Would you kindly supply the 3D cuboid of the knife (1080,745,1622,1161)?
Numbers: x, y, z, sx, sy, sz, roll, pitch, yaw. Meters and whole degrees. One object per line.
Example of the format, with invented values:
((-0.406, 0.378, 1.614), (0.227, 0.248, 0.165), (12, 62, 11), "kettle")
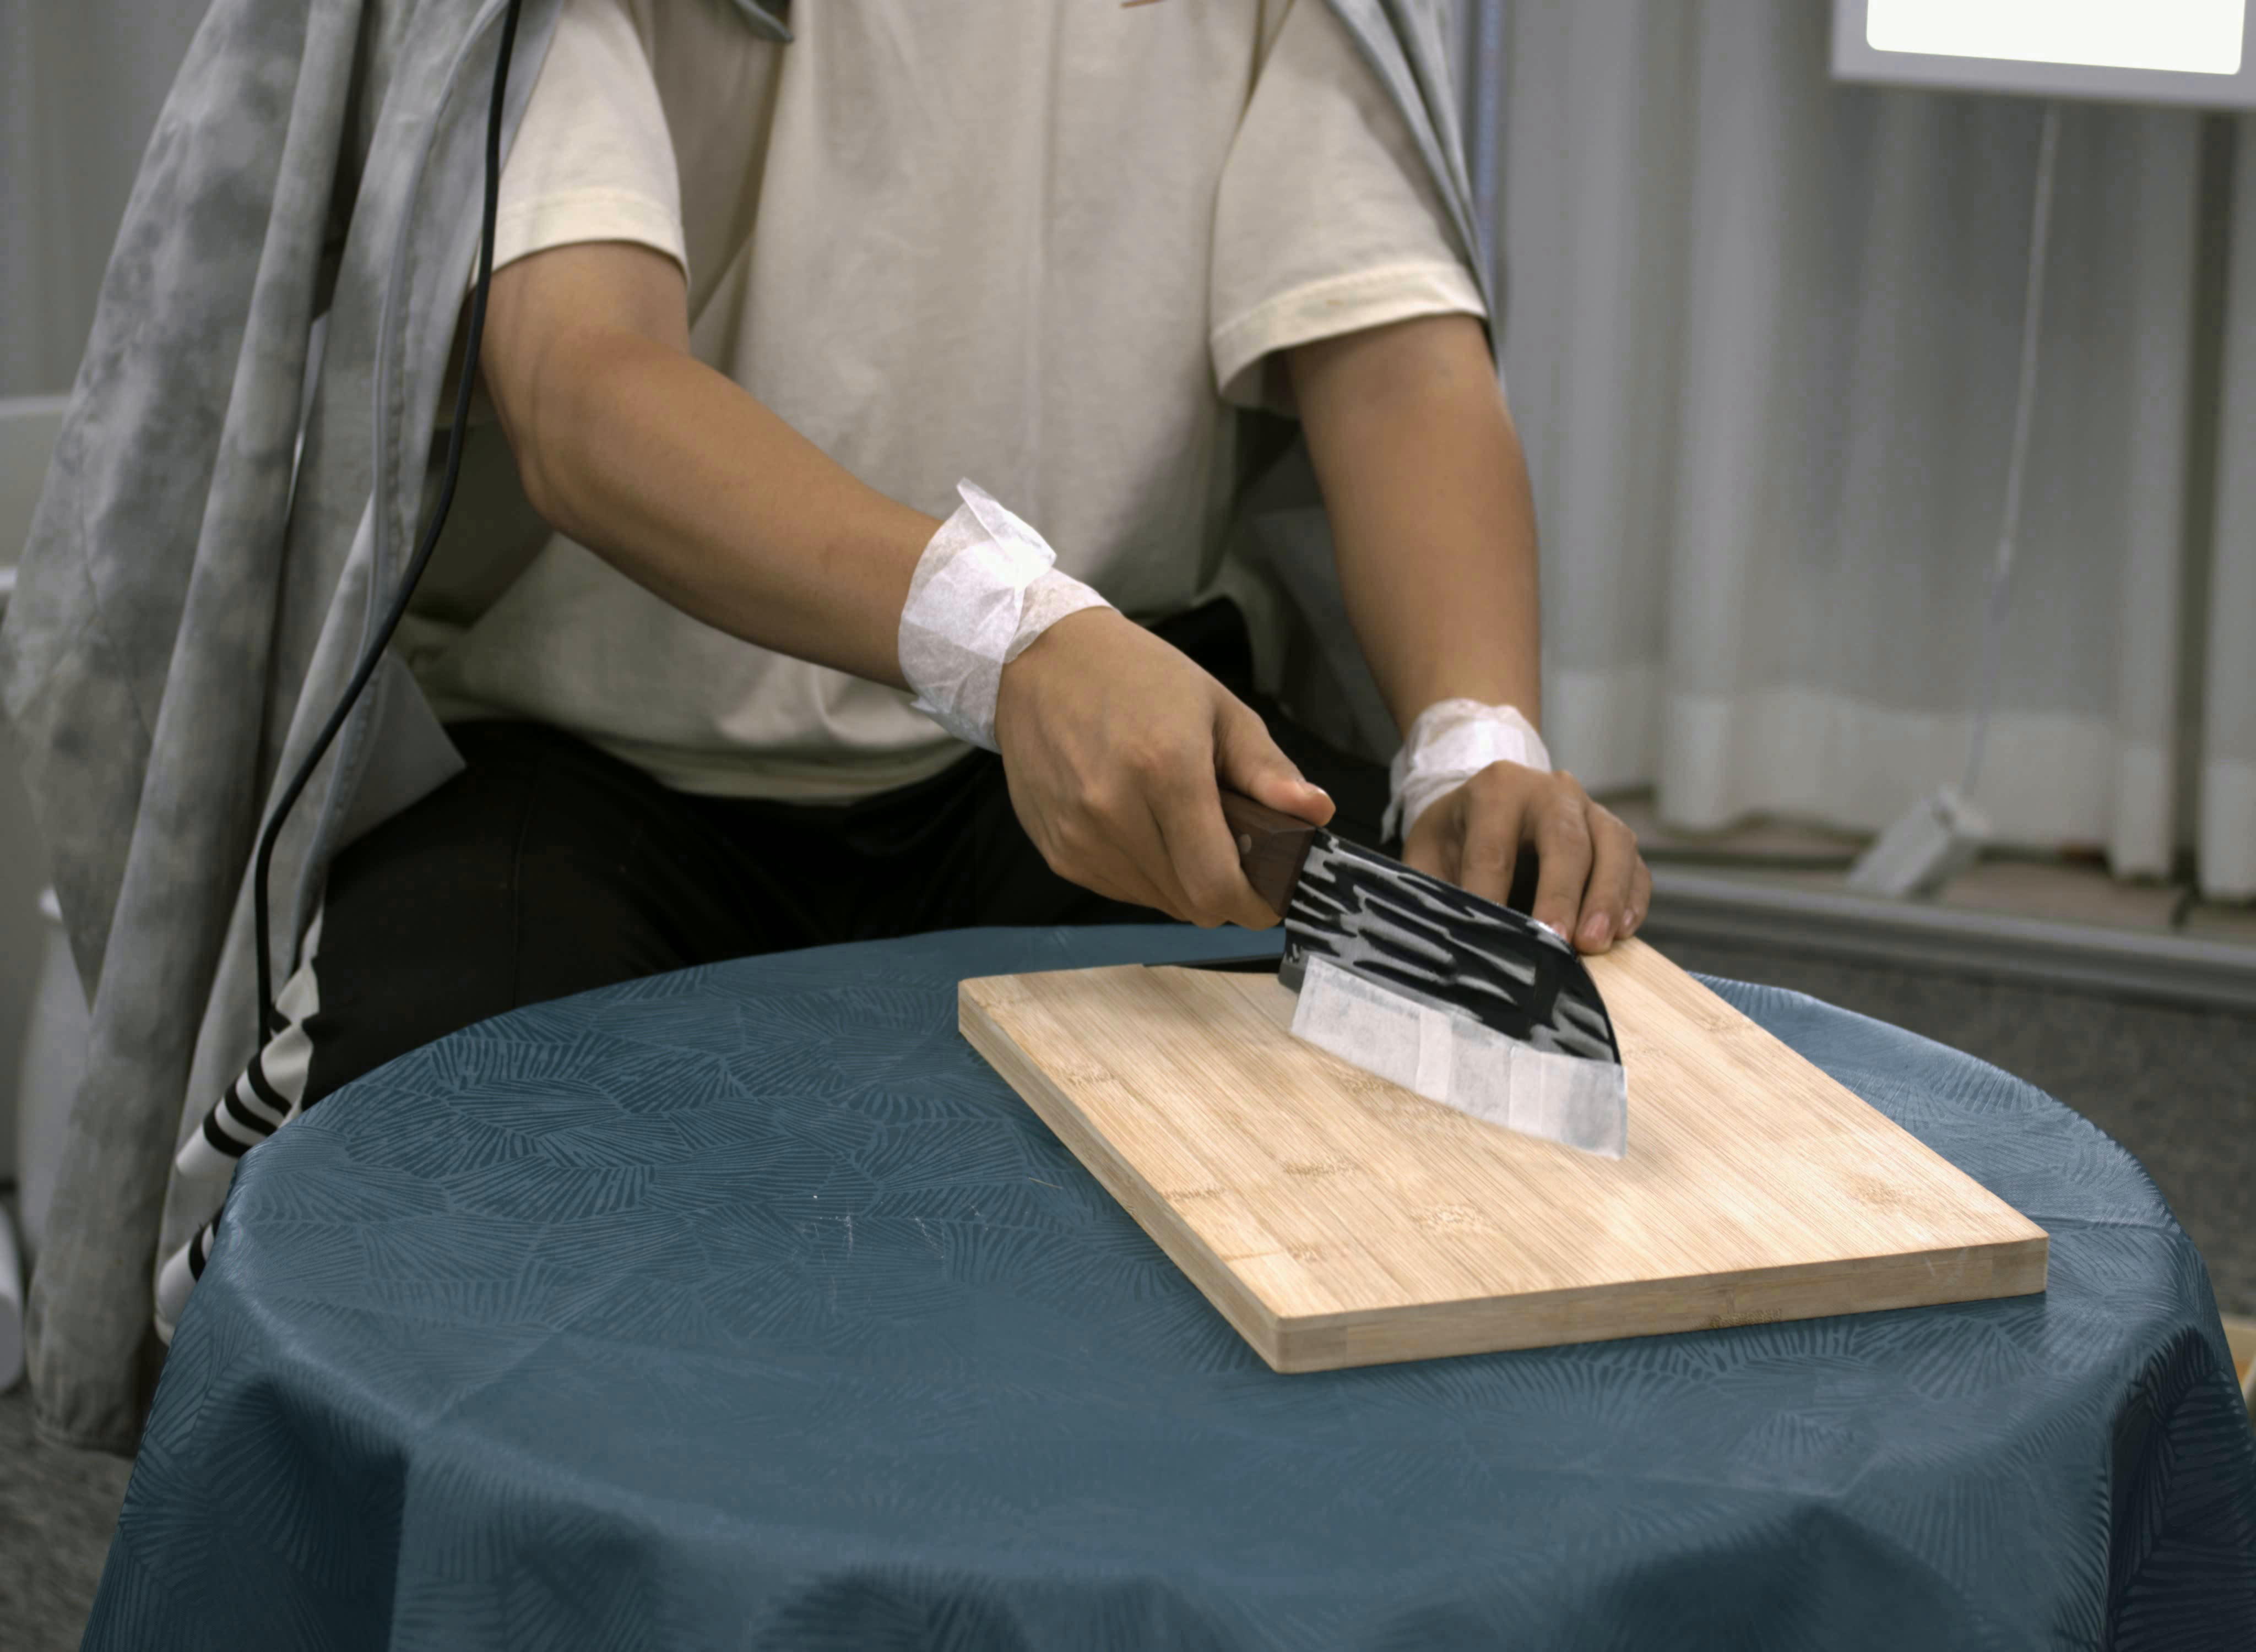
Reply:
((0.068, 0.038, 1.690), (0.024, 0.068, 0.295), (5, 13, -37), "knife")

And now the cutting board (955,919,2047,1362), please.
((0.105, 0.093, 1.668), (0.251, 0.024, 0.345), (-4, 16, -18), "cutting board")
